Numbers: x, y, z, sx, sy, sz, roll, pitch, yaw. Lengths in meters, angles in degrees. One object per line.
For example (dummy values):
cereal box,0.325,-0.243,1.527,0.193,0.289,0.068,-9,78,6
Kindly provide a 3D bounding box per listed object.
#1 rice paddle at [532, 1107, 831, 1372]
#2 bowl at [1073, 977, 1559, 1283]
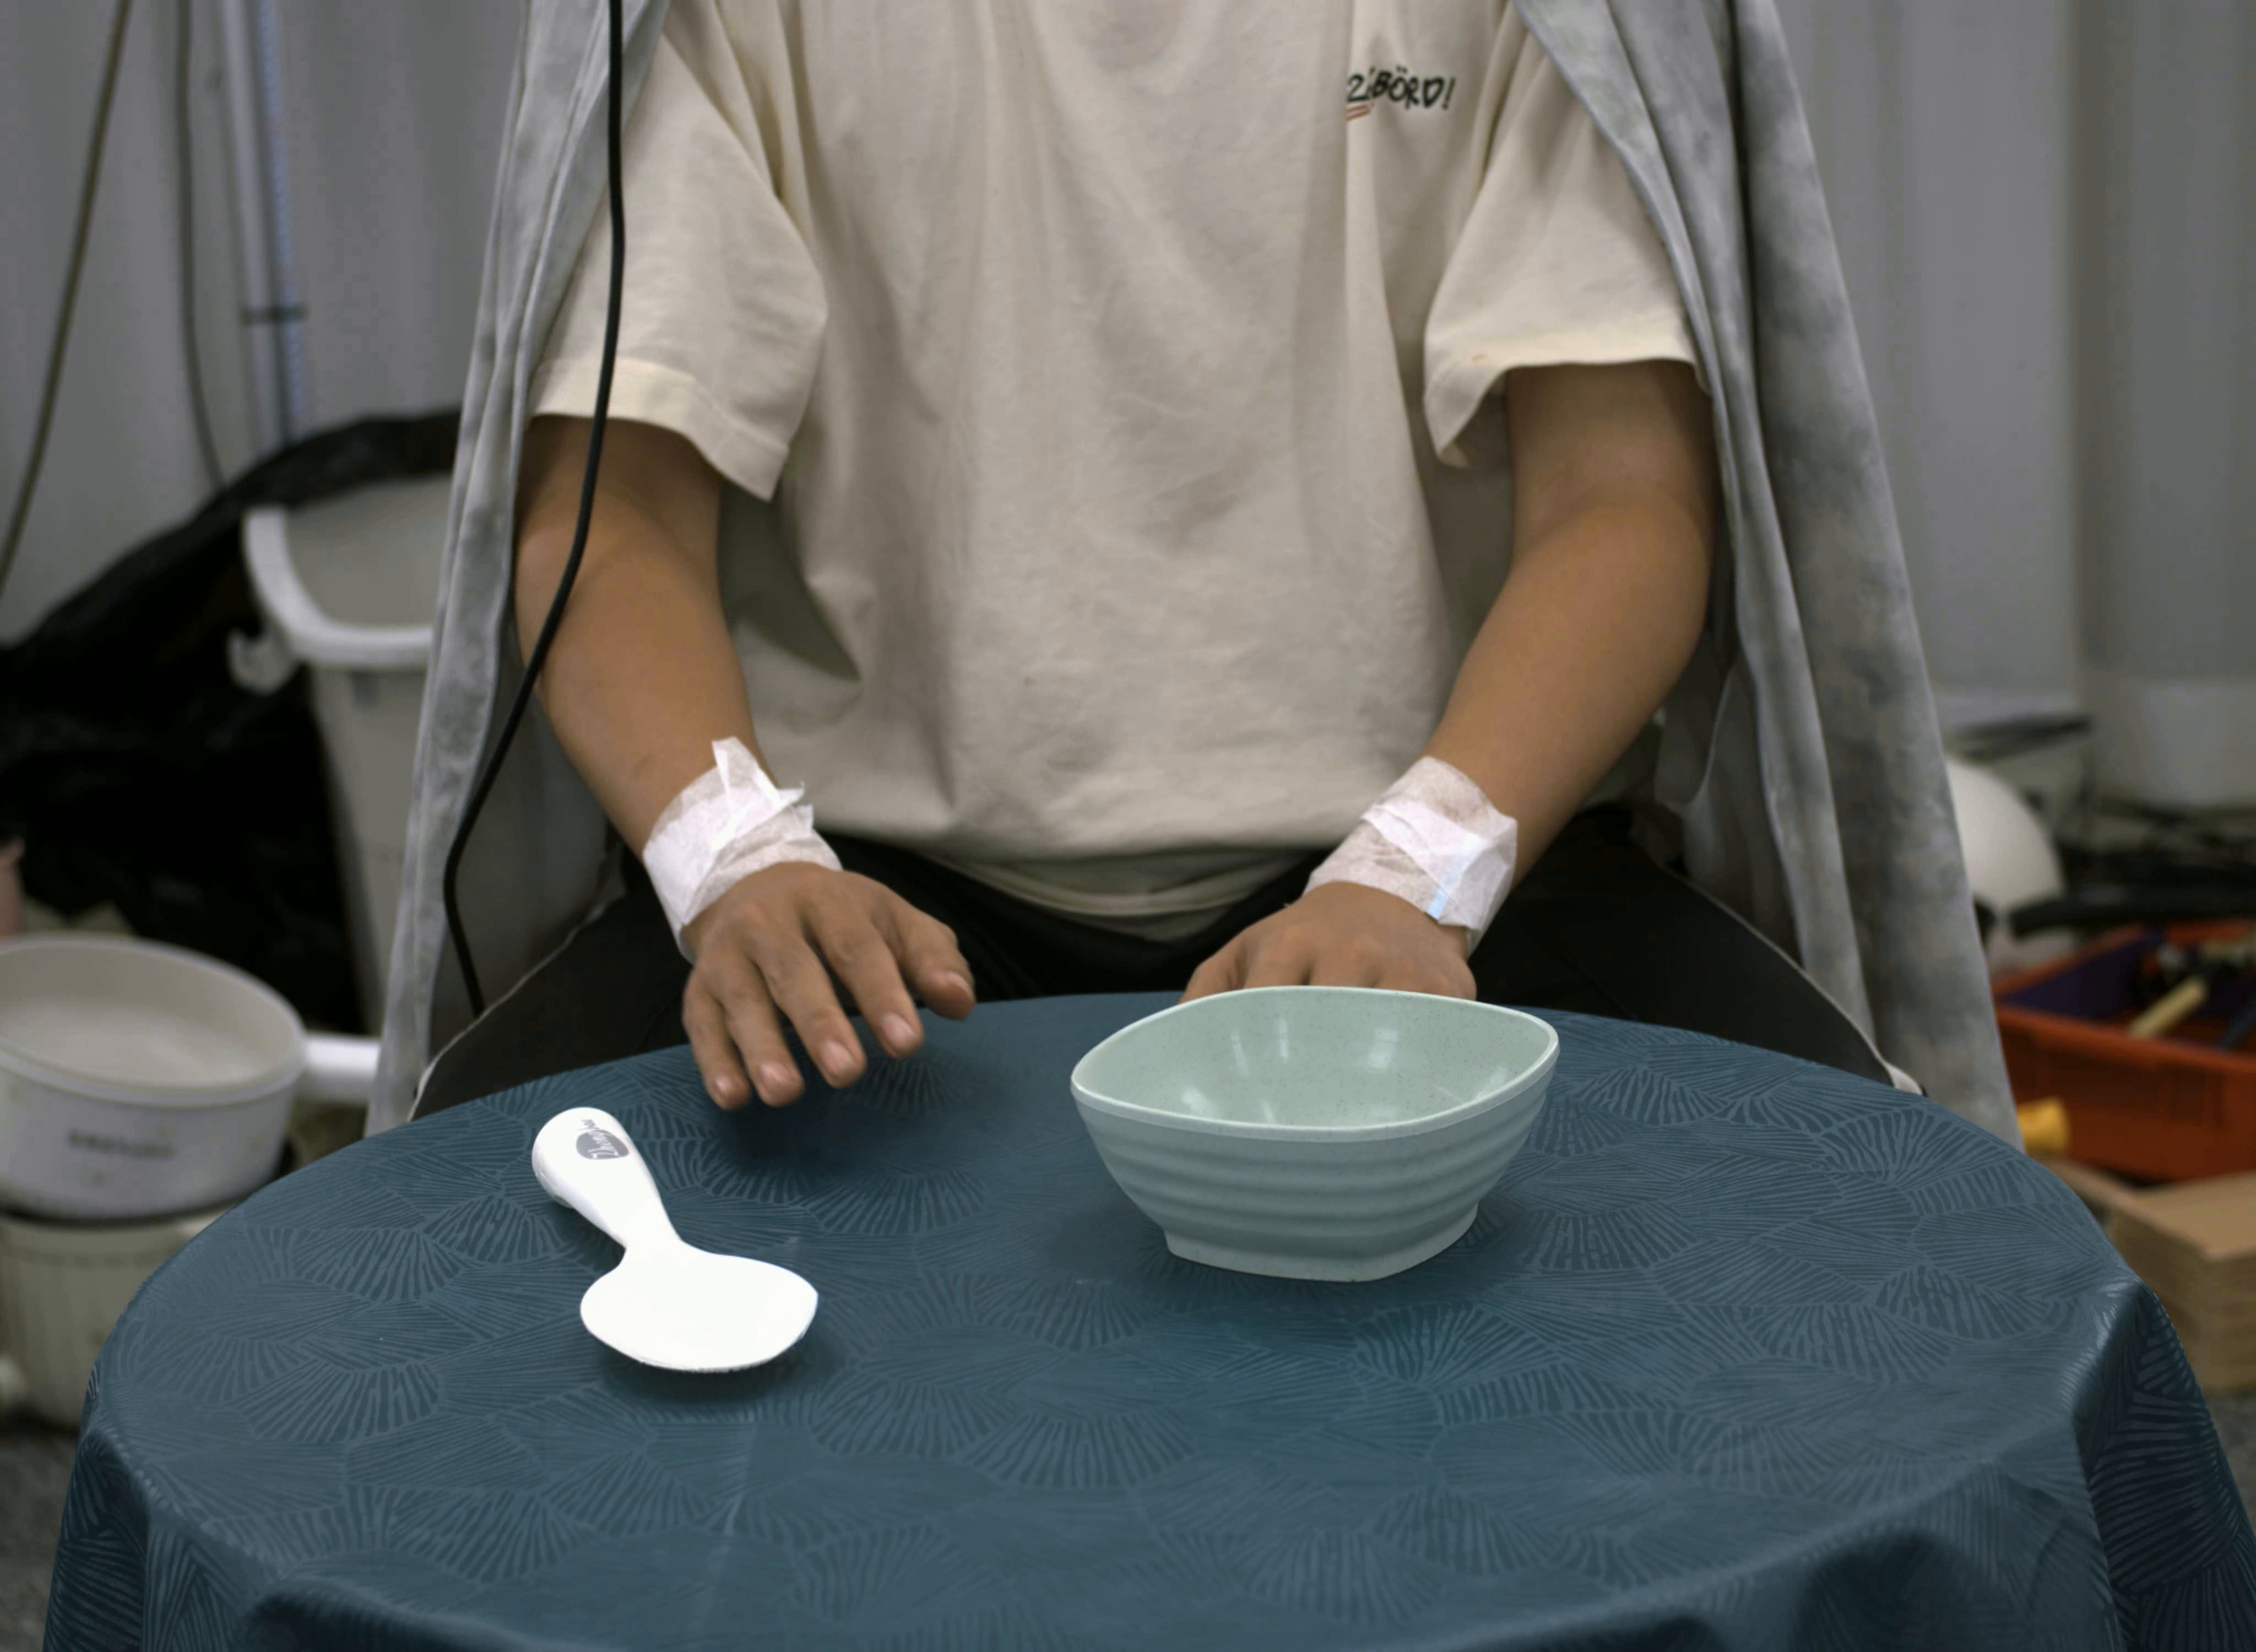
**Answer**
rice paddle,-0.141,0.126,1.644,0.068,0.029,0.207,-9,16,-17
bowl,0.060,0.096,1.663,0.151,0.058,0.152,-6,16,1
